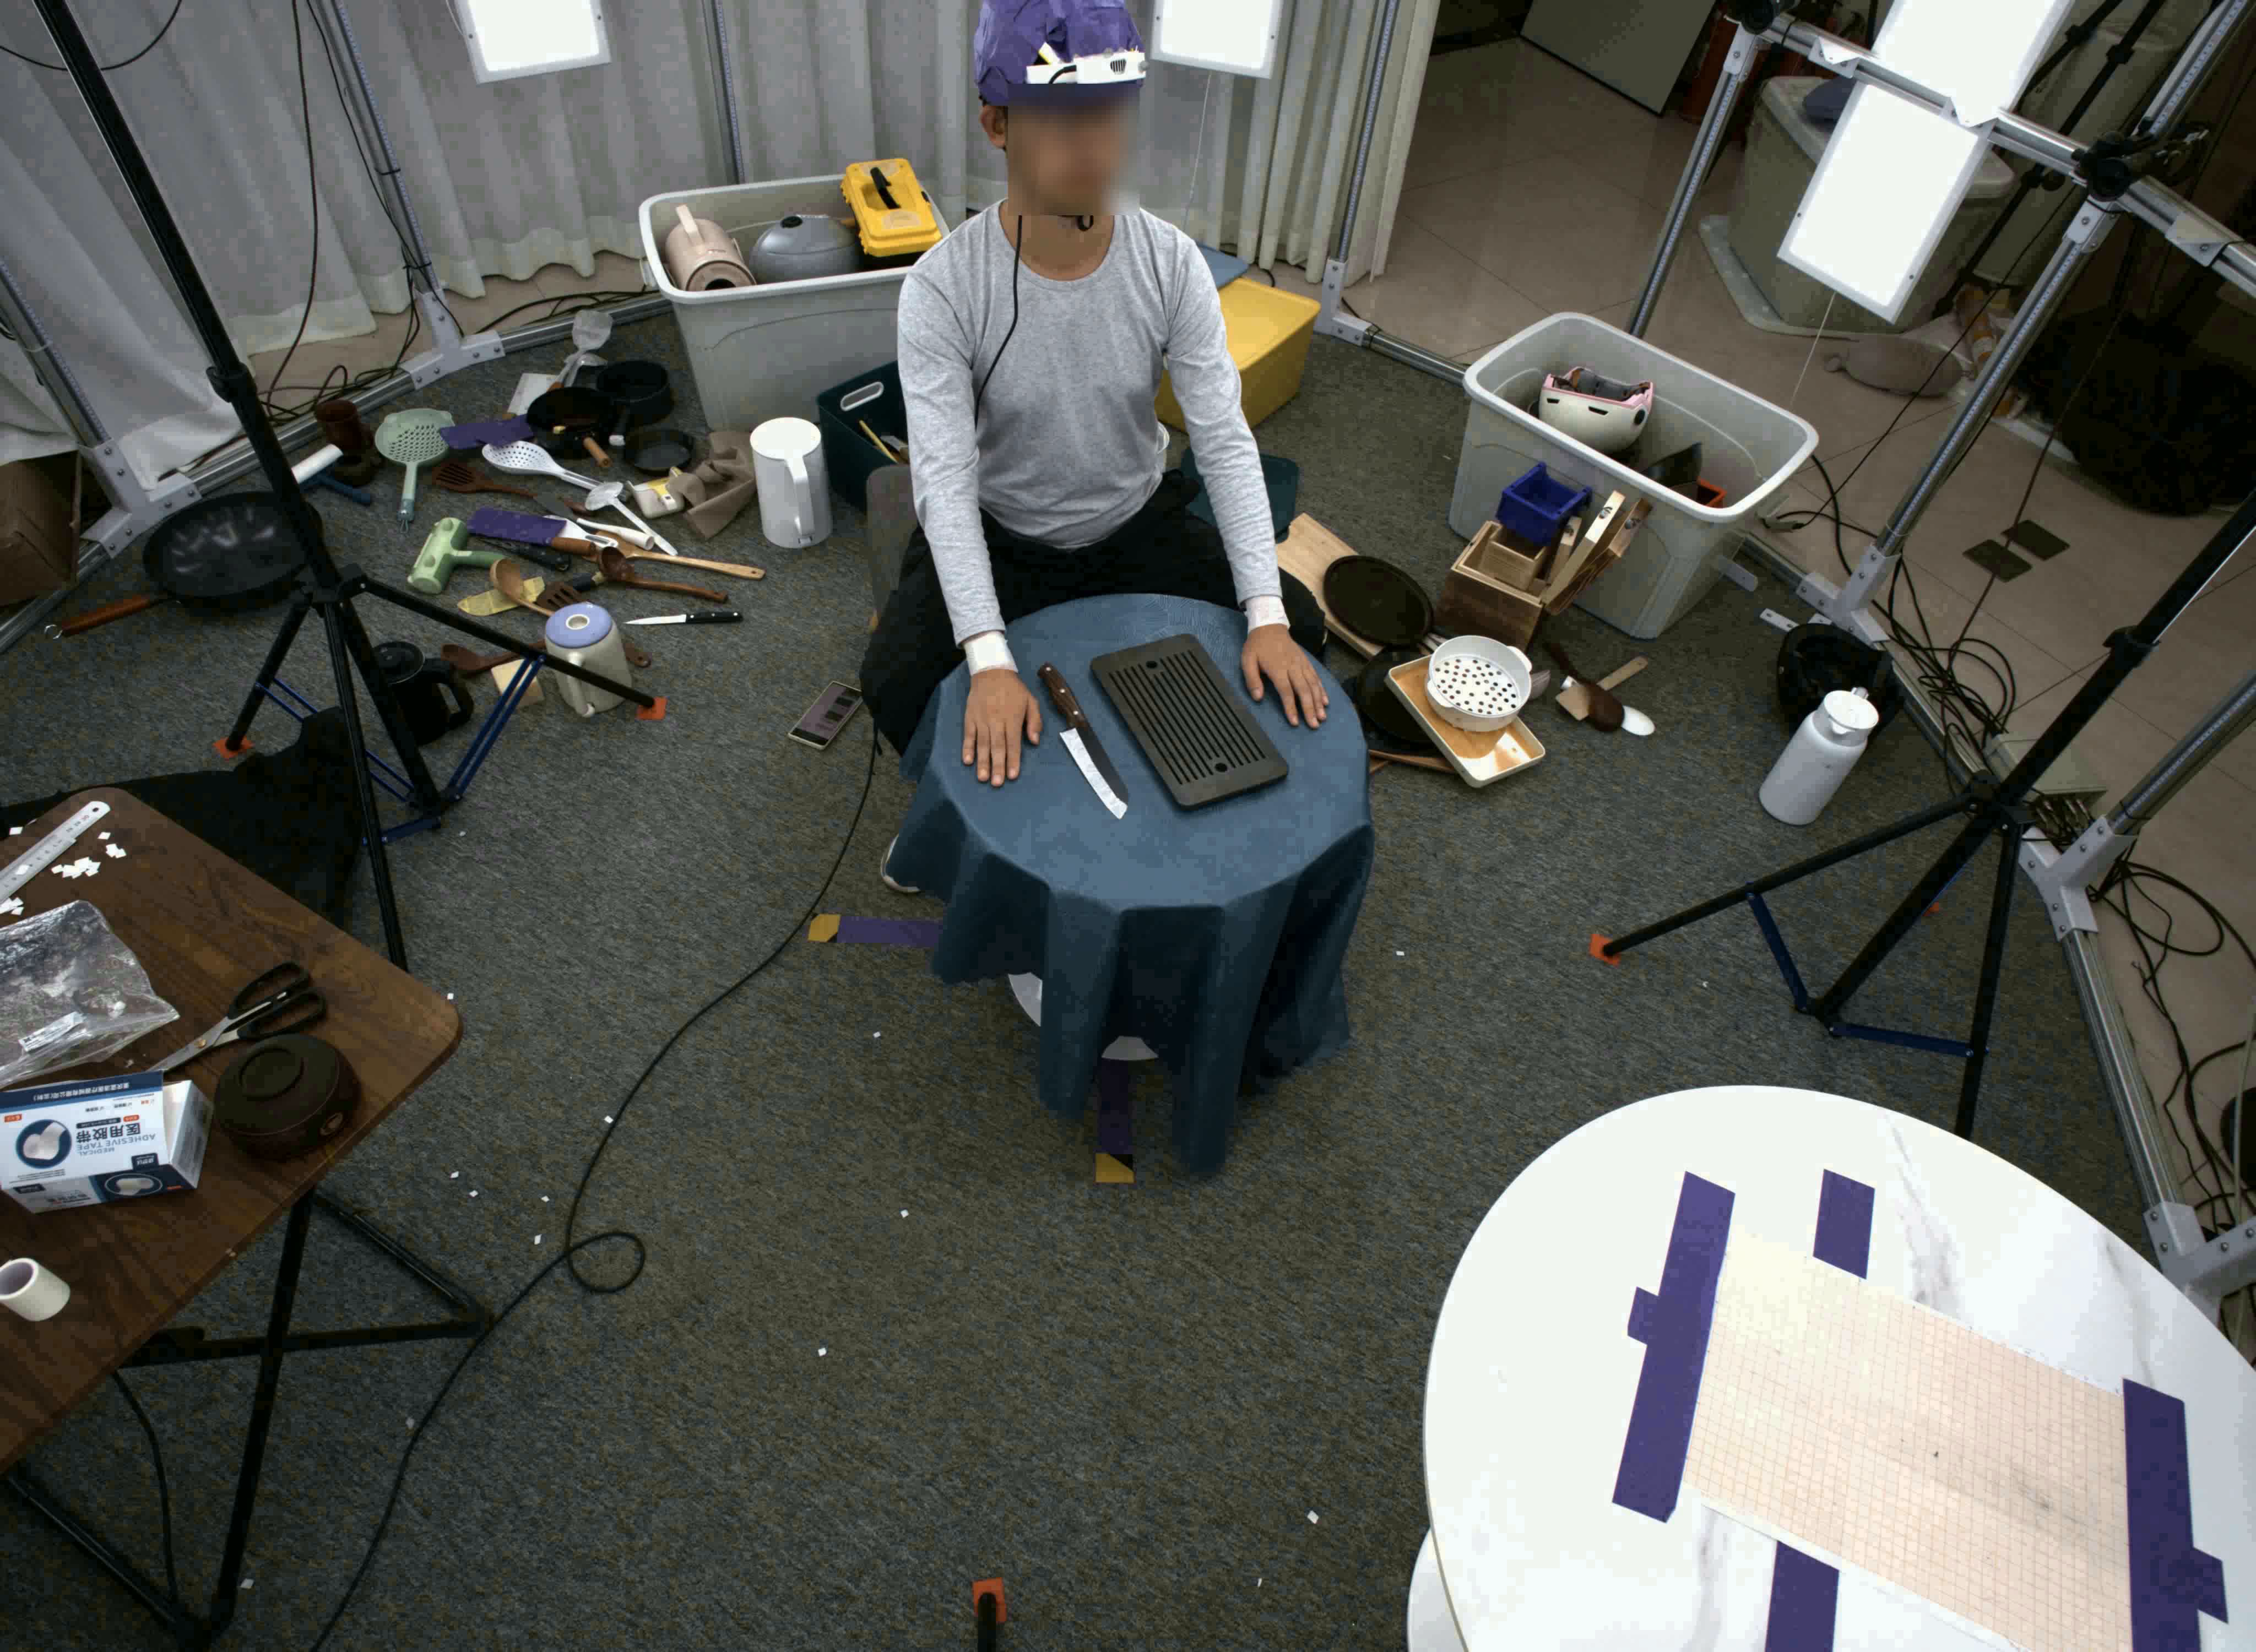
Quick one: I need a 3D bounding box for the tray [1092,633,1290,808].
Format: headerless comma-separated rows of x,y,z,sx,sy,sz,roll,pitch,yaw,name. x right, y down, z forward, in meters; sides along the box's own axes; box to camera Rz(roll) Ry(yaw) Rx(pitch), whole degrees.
0.083,-0.153,1.794,0.170,0.018,0.313,-17,52,-17,tray

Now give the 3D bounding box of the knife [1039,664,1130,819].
-0.062,-0.119,1.757,0.050,0.019,0.296,-18,55,-13,knife
